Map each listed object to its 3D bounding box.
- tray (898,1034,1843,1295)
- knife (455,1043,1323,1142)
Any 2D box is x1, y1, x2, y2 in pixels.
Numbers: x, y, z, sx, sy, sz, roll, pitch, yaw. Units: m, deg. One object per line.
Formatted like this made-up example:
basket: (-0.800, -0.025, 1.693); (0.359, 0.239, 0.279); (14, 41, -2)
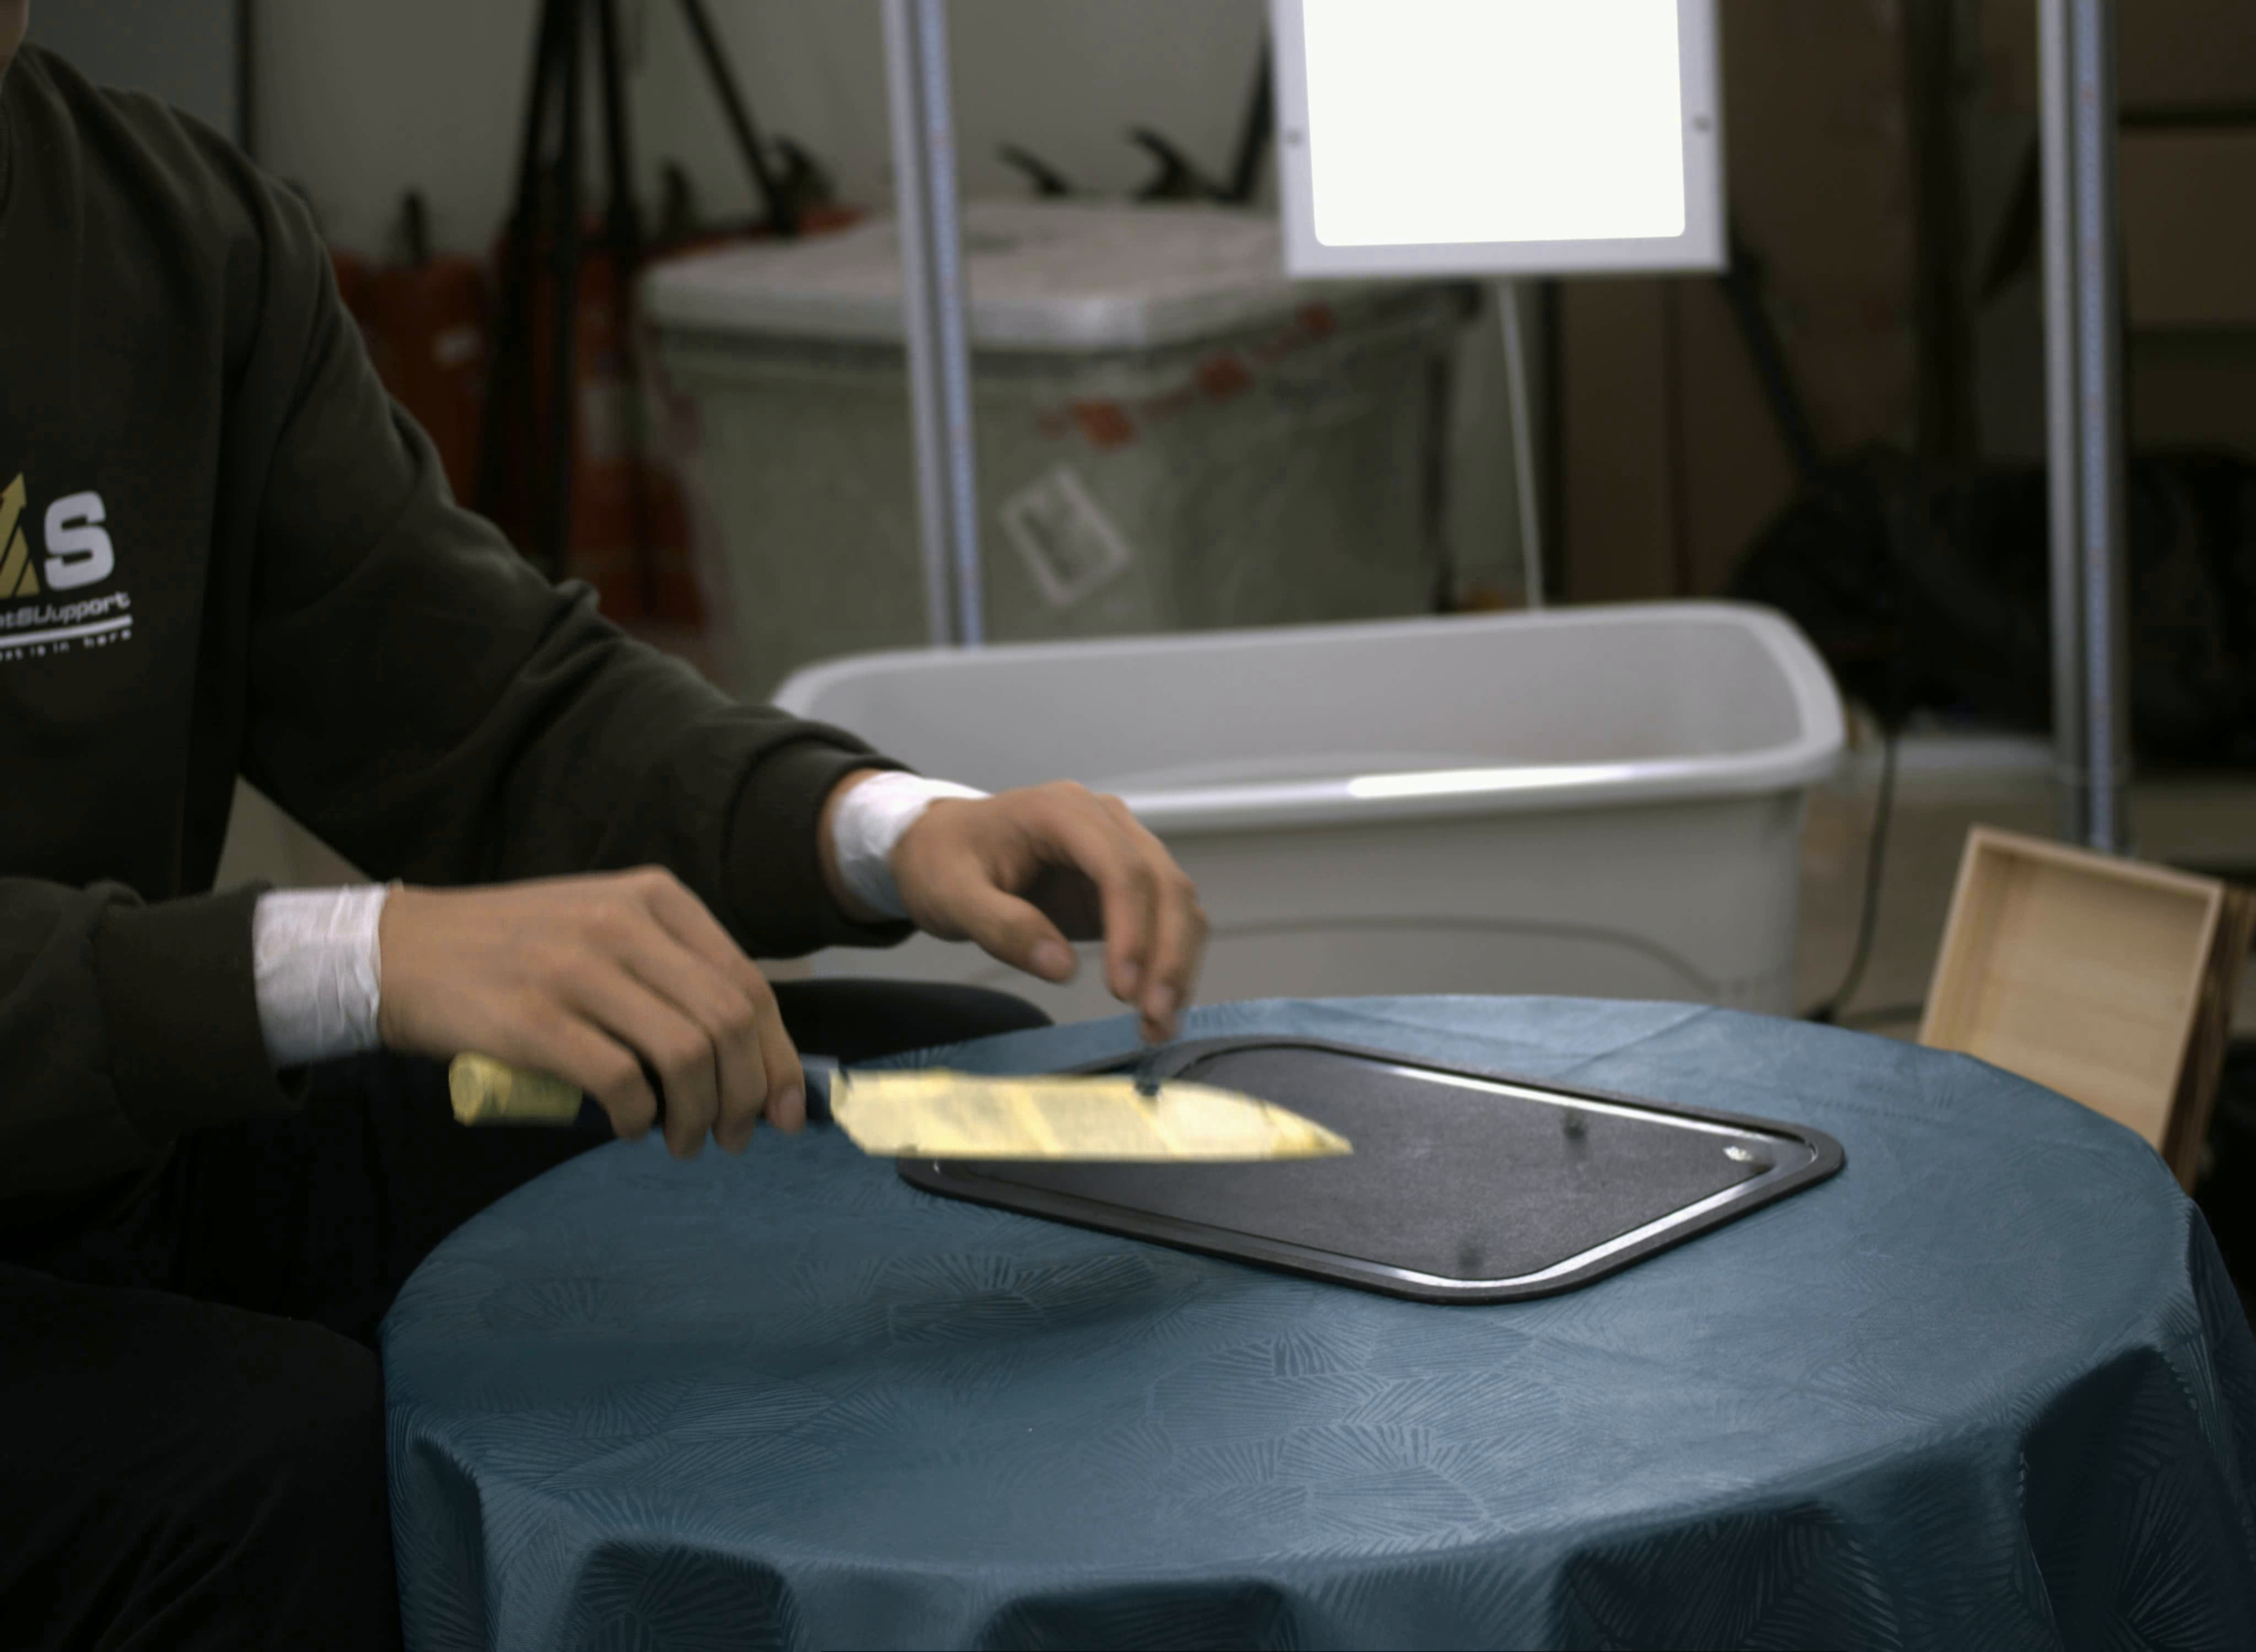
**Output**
tray: (0.075, 0.113, 1.917); (0.206, 0.010, 0.332); (-18, 18, -42)
knife: (-0.073, 0.089, 1.784); (0.285, 0.027, 0.082); (1, 15, -15)
